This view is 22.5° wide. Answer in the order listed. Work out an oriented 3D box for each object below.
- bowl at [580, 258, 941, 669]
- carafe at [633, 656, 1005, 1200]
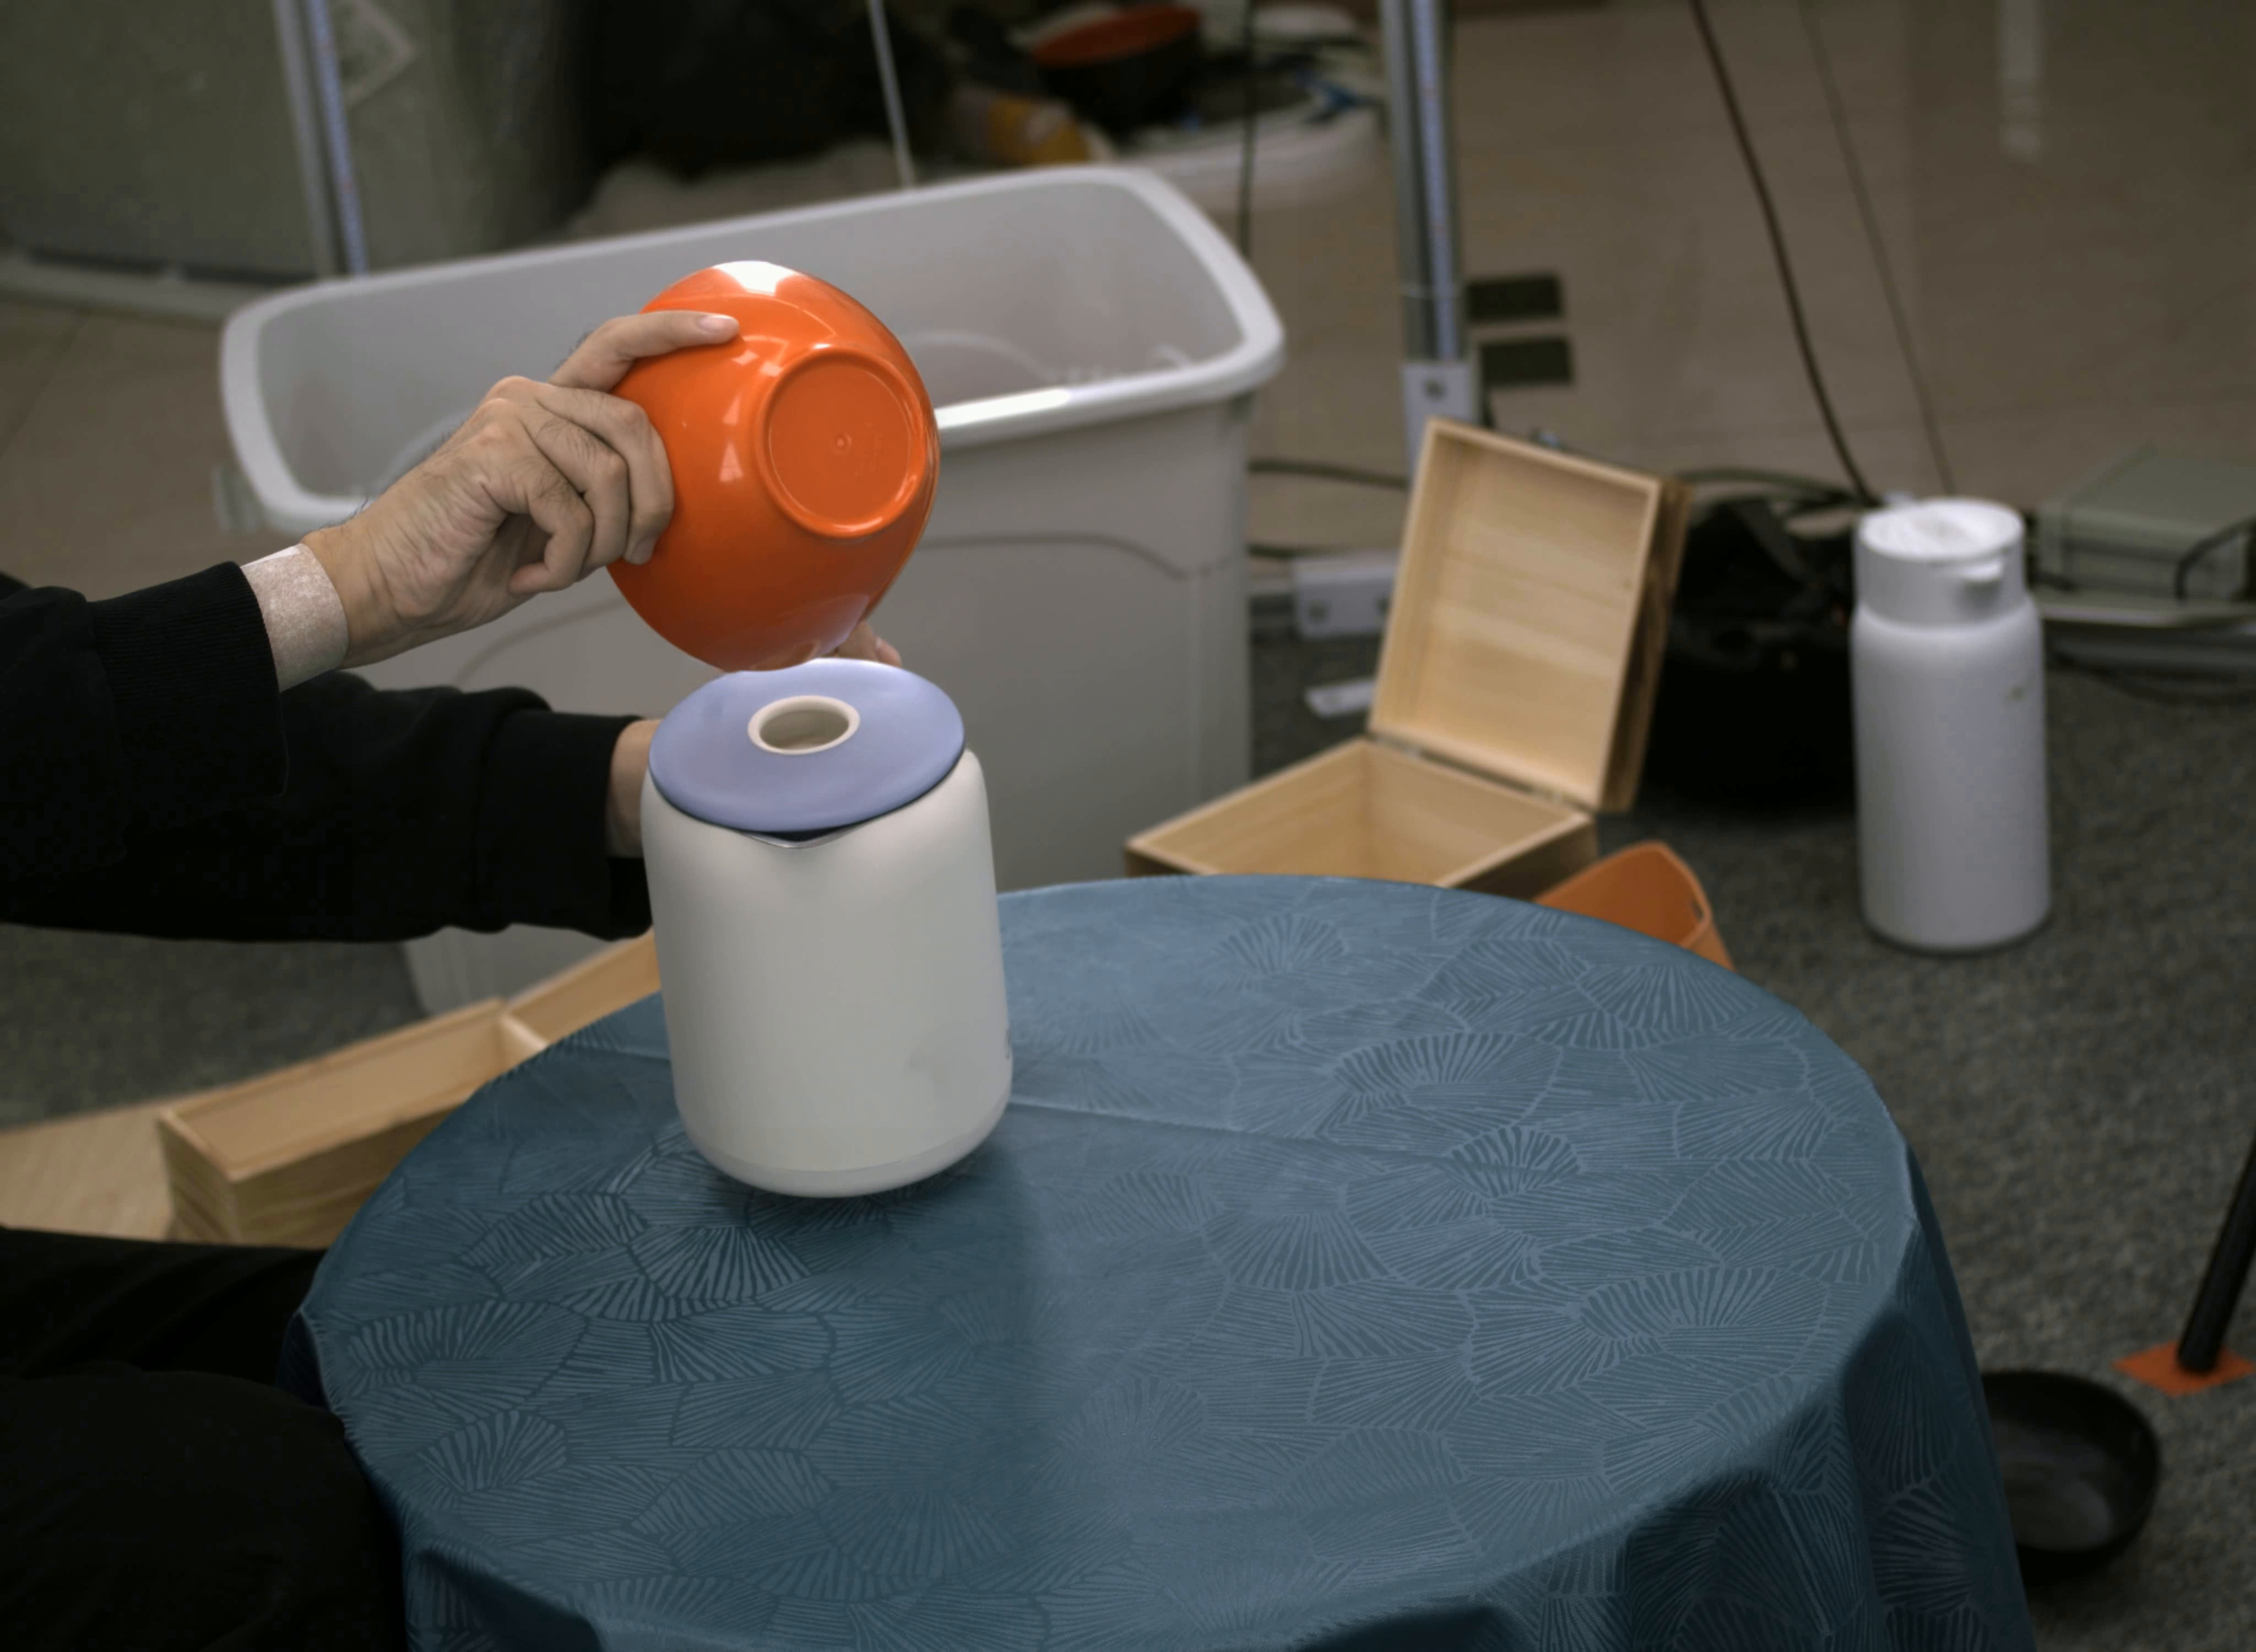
[{"bbox_3d":[-0.114,-0.131,1.995,0.147,0.149,0.104,-20,10,-27],"label":"bowl"},{"bbox_3d":[-0.118,0.026,2.165,0.132,0.186,0.188,-4,30,-1],"label":"carafe"}]
